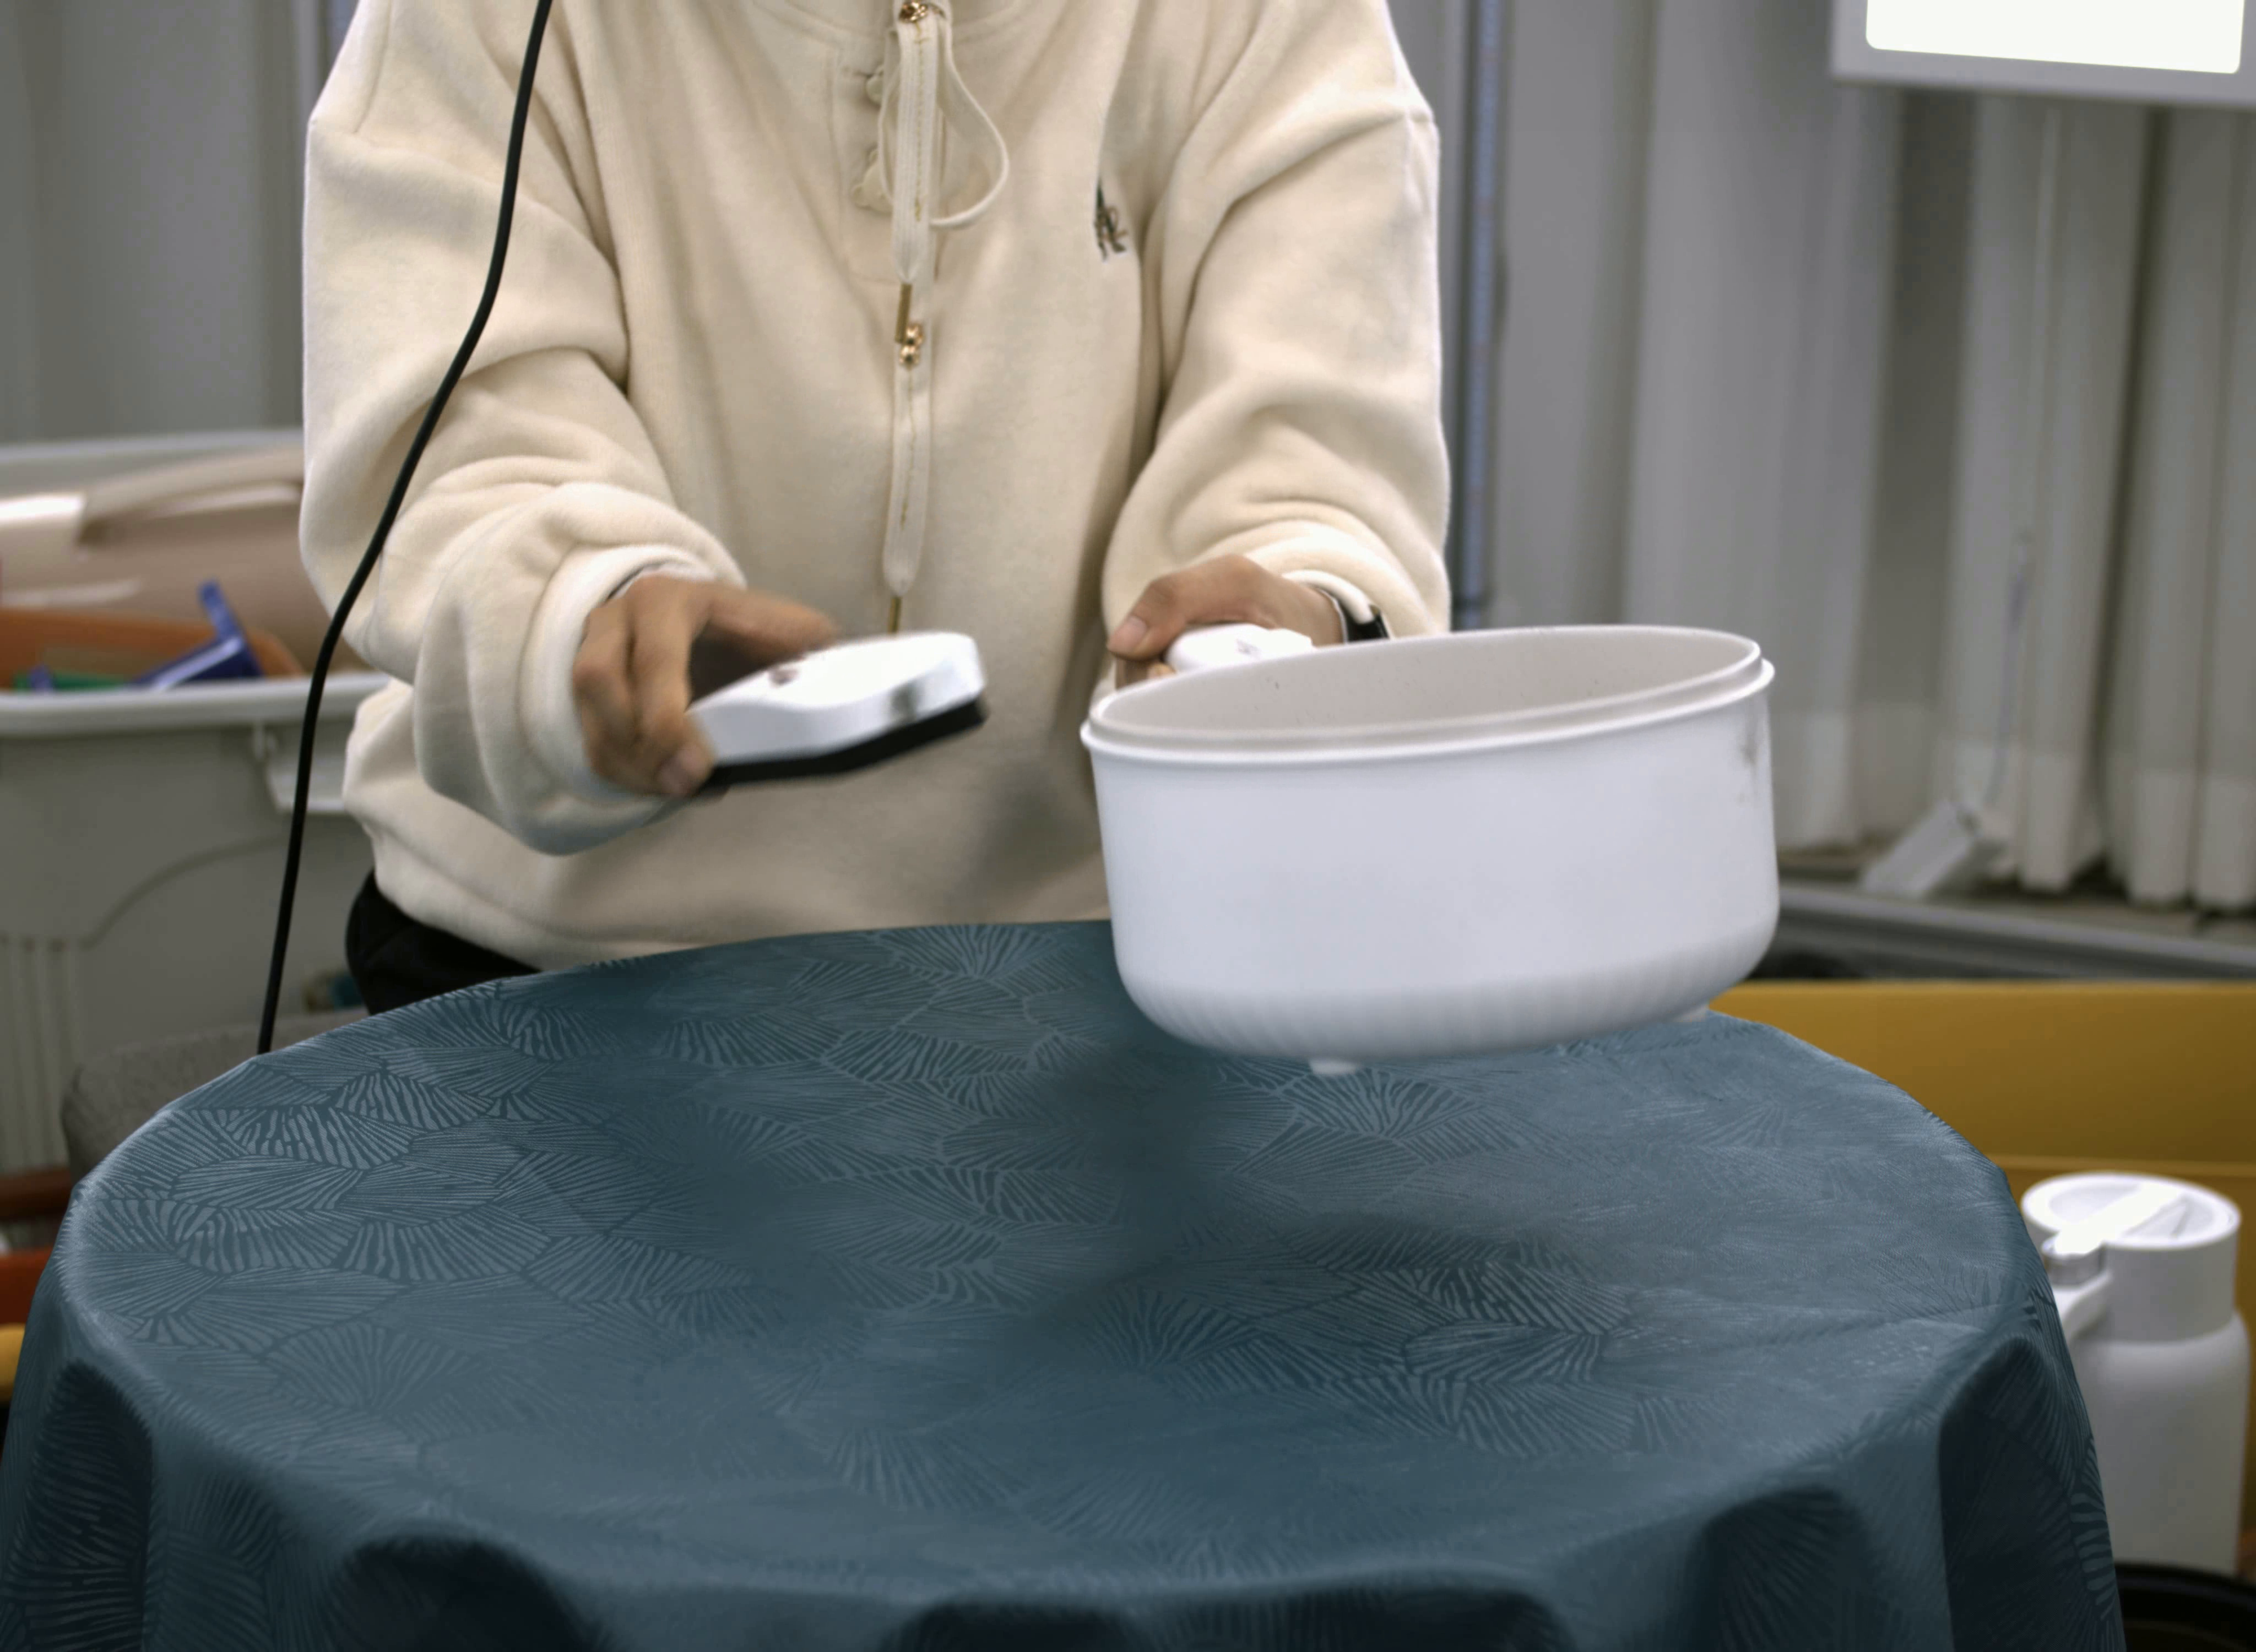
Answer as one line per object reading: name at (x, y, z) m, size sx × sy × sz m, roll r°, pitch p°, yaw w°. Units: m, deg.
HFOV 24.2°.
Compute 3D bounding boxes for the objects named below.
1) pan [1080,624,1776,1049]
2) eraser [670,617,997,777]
pan at (0.070, -0.004, 1.597) m, size 0.201 × 0.102 × 0.352 m, roll -6°, pitch 6°, yaw -14°
eraser at (-0.089, -0.040, 1.601) m, size 0.063 × 0.035 × 0.130 m, roll -19°, pitch 6°, yaw -27°
